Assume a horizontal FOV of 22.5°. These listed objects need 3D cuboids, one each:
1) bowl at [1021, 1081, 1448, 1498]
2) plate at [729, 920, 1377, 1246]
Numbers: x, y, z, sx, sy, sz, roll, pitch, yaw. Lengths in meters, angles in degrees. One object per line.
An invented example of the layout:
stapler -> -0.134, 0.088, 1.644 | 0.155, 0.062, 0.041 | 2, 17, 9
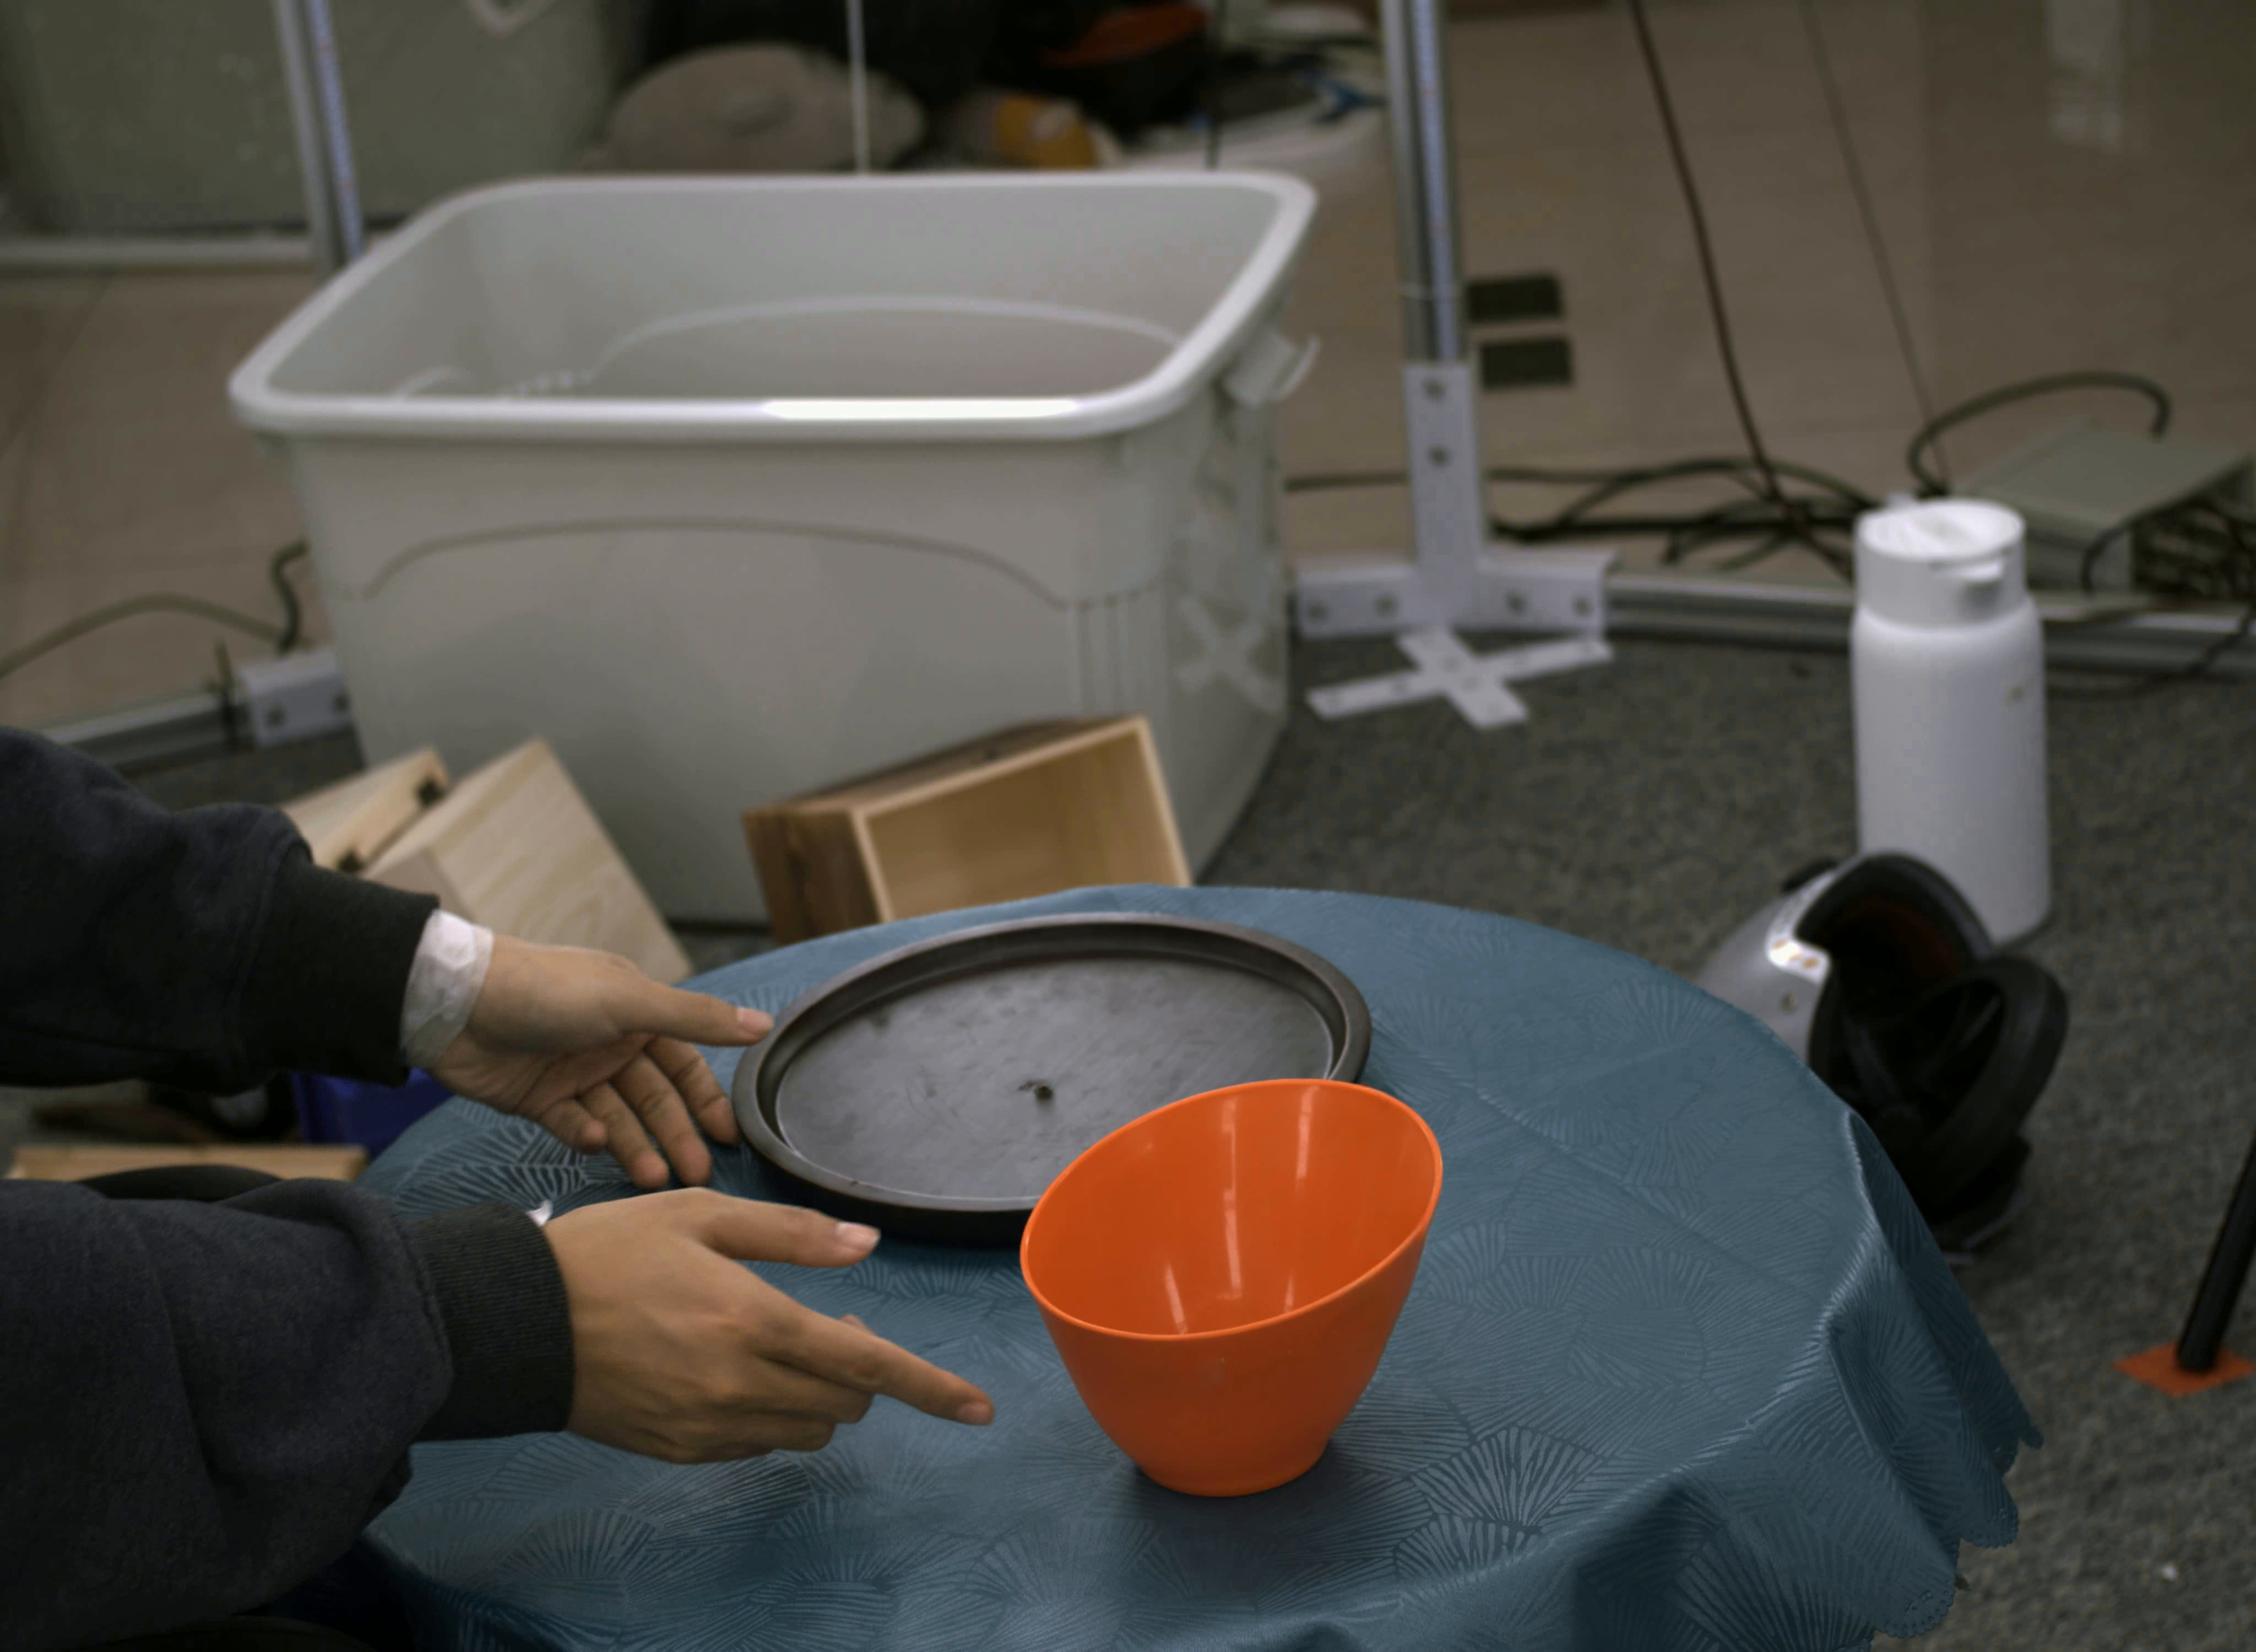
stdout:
bowl -> 0.039, 0.166, 1.955 | 0.148, 0.106, 0.146 | -3, 27, 2
plate -> -0.029, 0.098, 2.214 | 0.254, 0.029, 0.251 | -5, 26, 2
